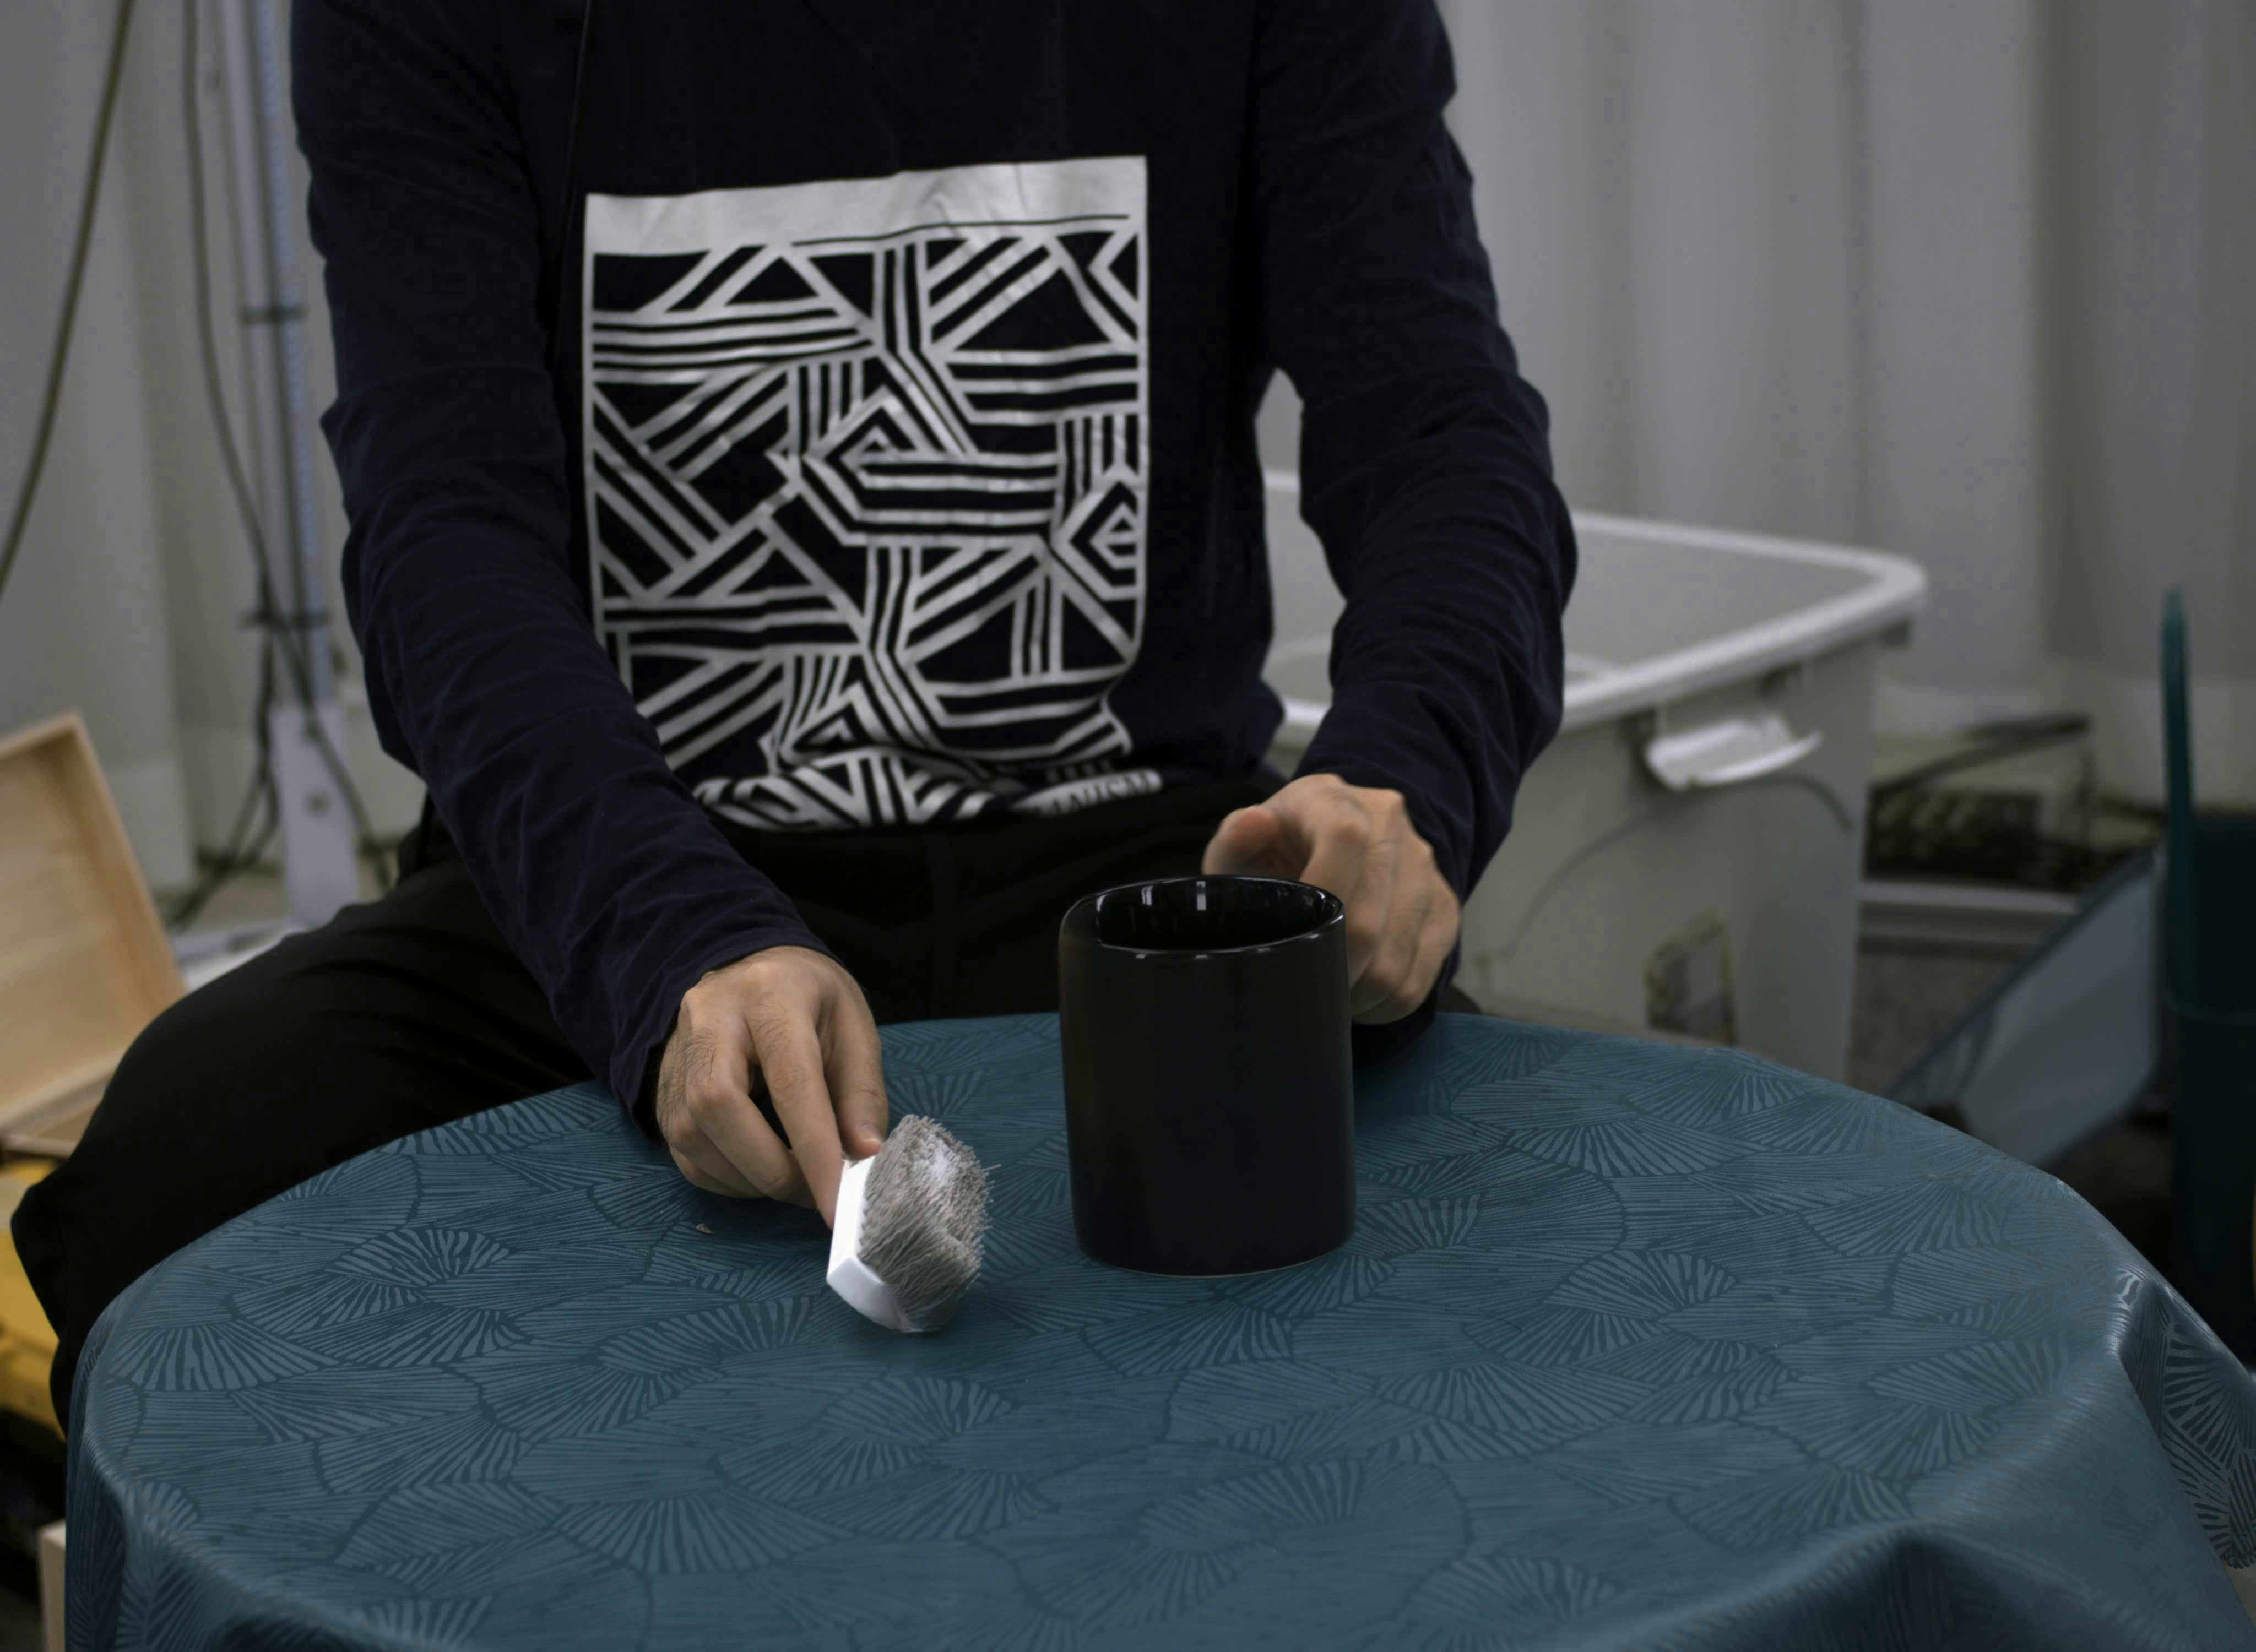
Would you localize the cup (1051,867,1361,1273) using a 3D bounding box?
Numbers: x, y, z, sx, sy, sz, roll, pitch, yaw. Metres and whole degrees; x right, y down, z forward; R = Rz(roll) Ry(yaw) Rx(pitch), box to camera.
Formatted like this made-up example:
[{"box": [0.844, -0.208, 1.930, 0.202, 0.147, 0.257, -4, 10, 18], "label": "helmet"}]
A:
[{"box": [0.024, 0.069, 1.679, 0.088, 0.105, 0.124, -4, 13, 3], "label": "cup"}]

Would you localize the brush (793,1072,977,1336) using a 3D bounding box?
[{"box": [-0.077, 0.098, 1.694, 0.034, 0.050, 0.245, 32, 7, -12], "label": "brush"}]
